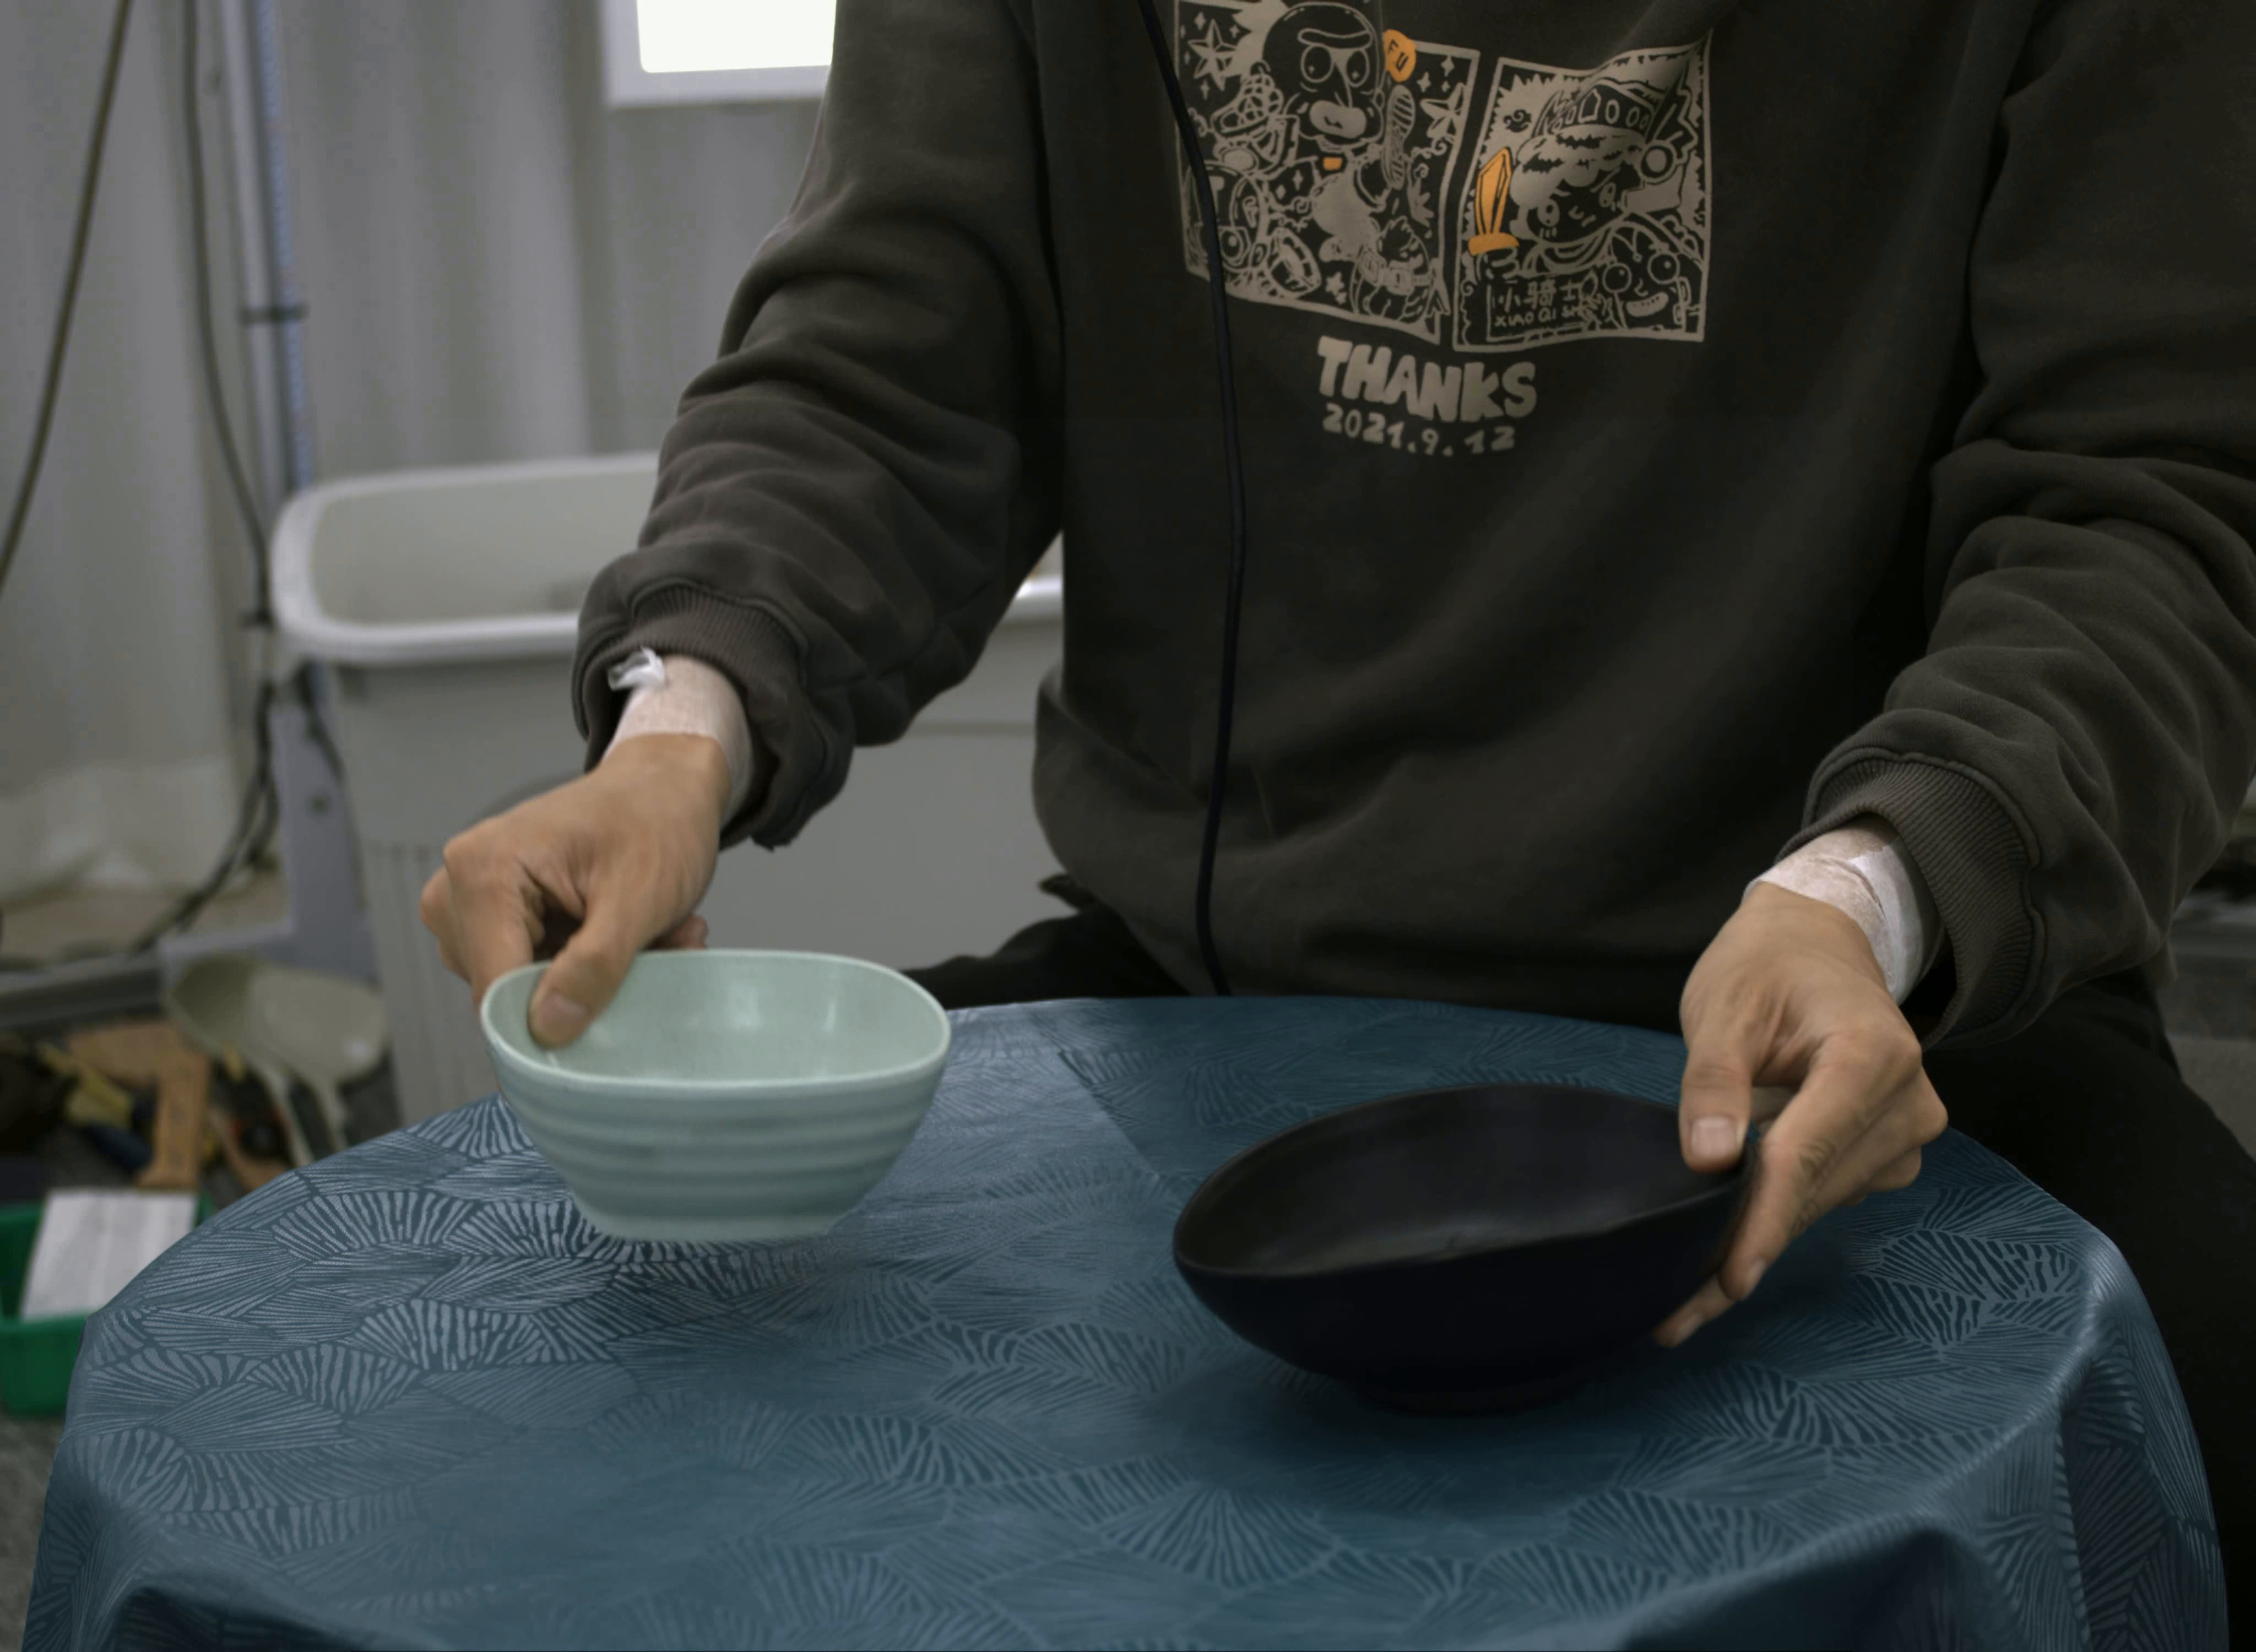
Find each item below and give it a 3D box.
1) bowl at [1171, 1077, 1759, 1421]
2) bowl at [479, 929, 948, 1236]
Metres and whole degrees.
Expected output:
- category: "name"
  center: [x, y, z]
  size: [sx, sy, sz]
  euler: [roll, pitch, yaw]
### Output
- category: "bowl"
  center: [0.098, 0.125, 1.539]
  size: [0.169, 0.066, 0.138]
  euler: [-10, 16, -17]
- category: "bowl"
  center: [-0.124, 0.080, 1.637]
  size: [0.151, 0.058, 0.152]
  euler: [2, 17, -1]
